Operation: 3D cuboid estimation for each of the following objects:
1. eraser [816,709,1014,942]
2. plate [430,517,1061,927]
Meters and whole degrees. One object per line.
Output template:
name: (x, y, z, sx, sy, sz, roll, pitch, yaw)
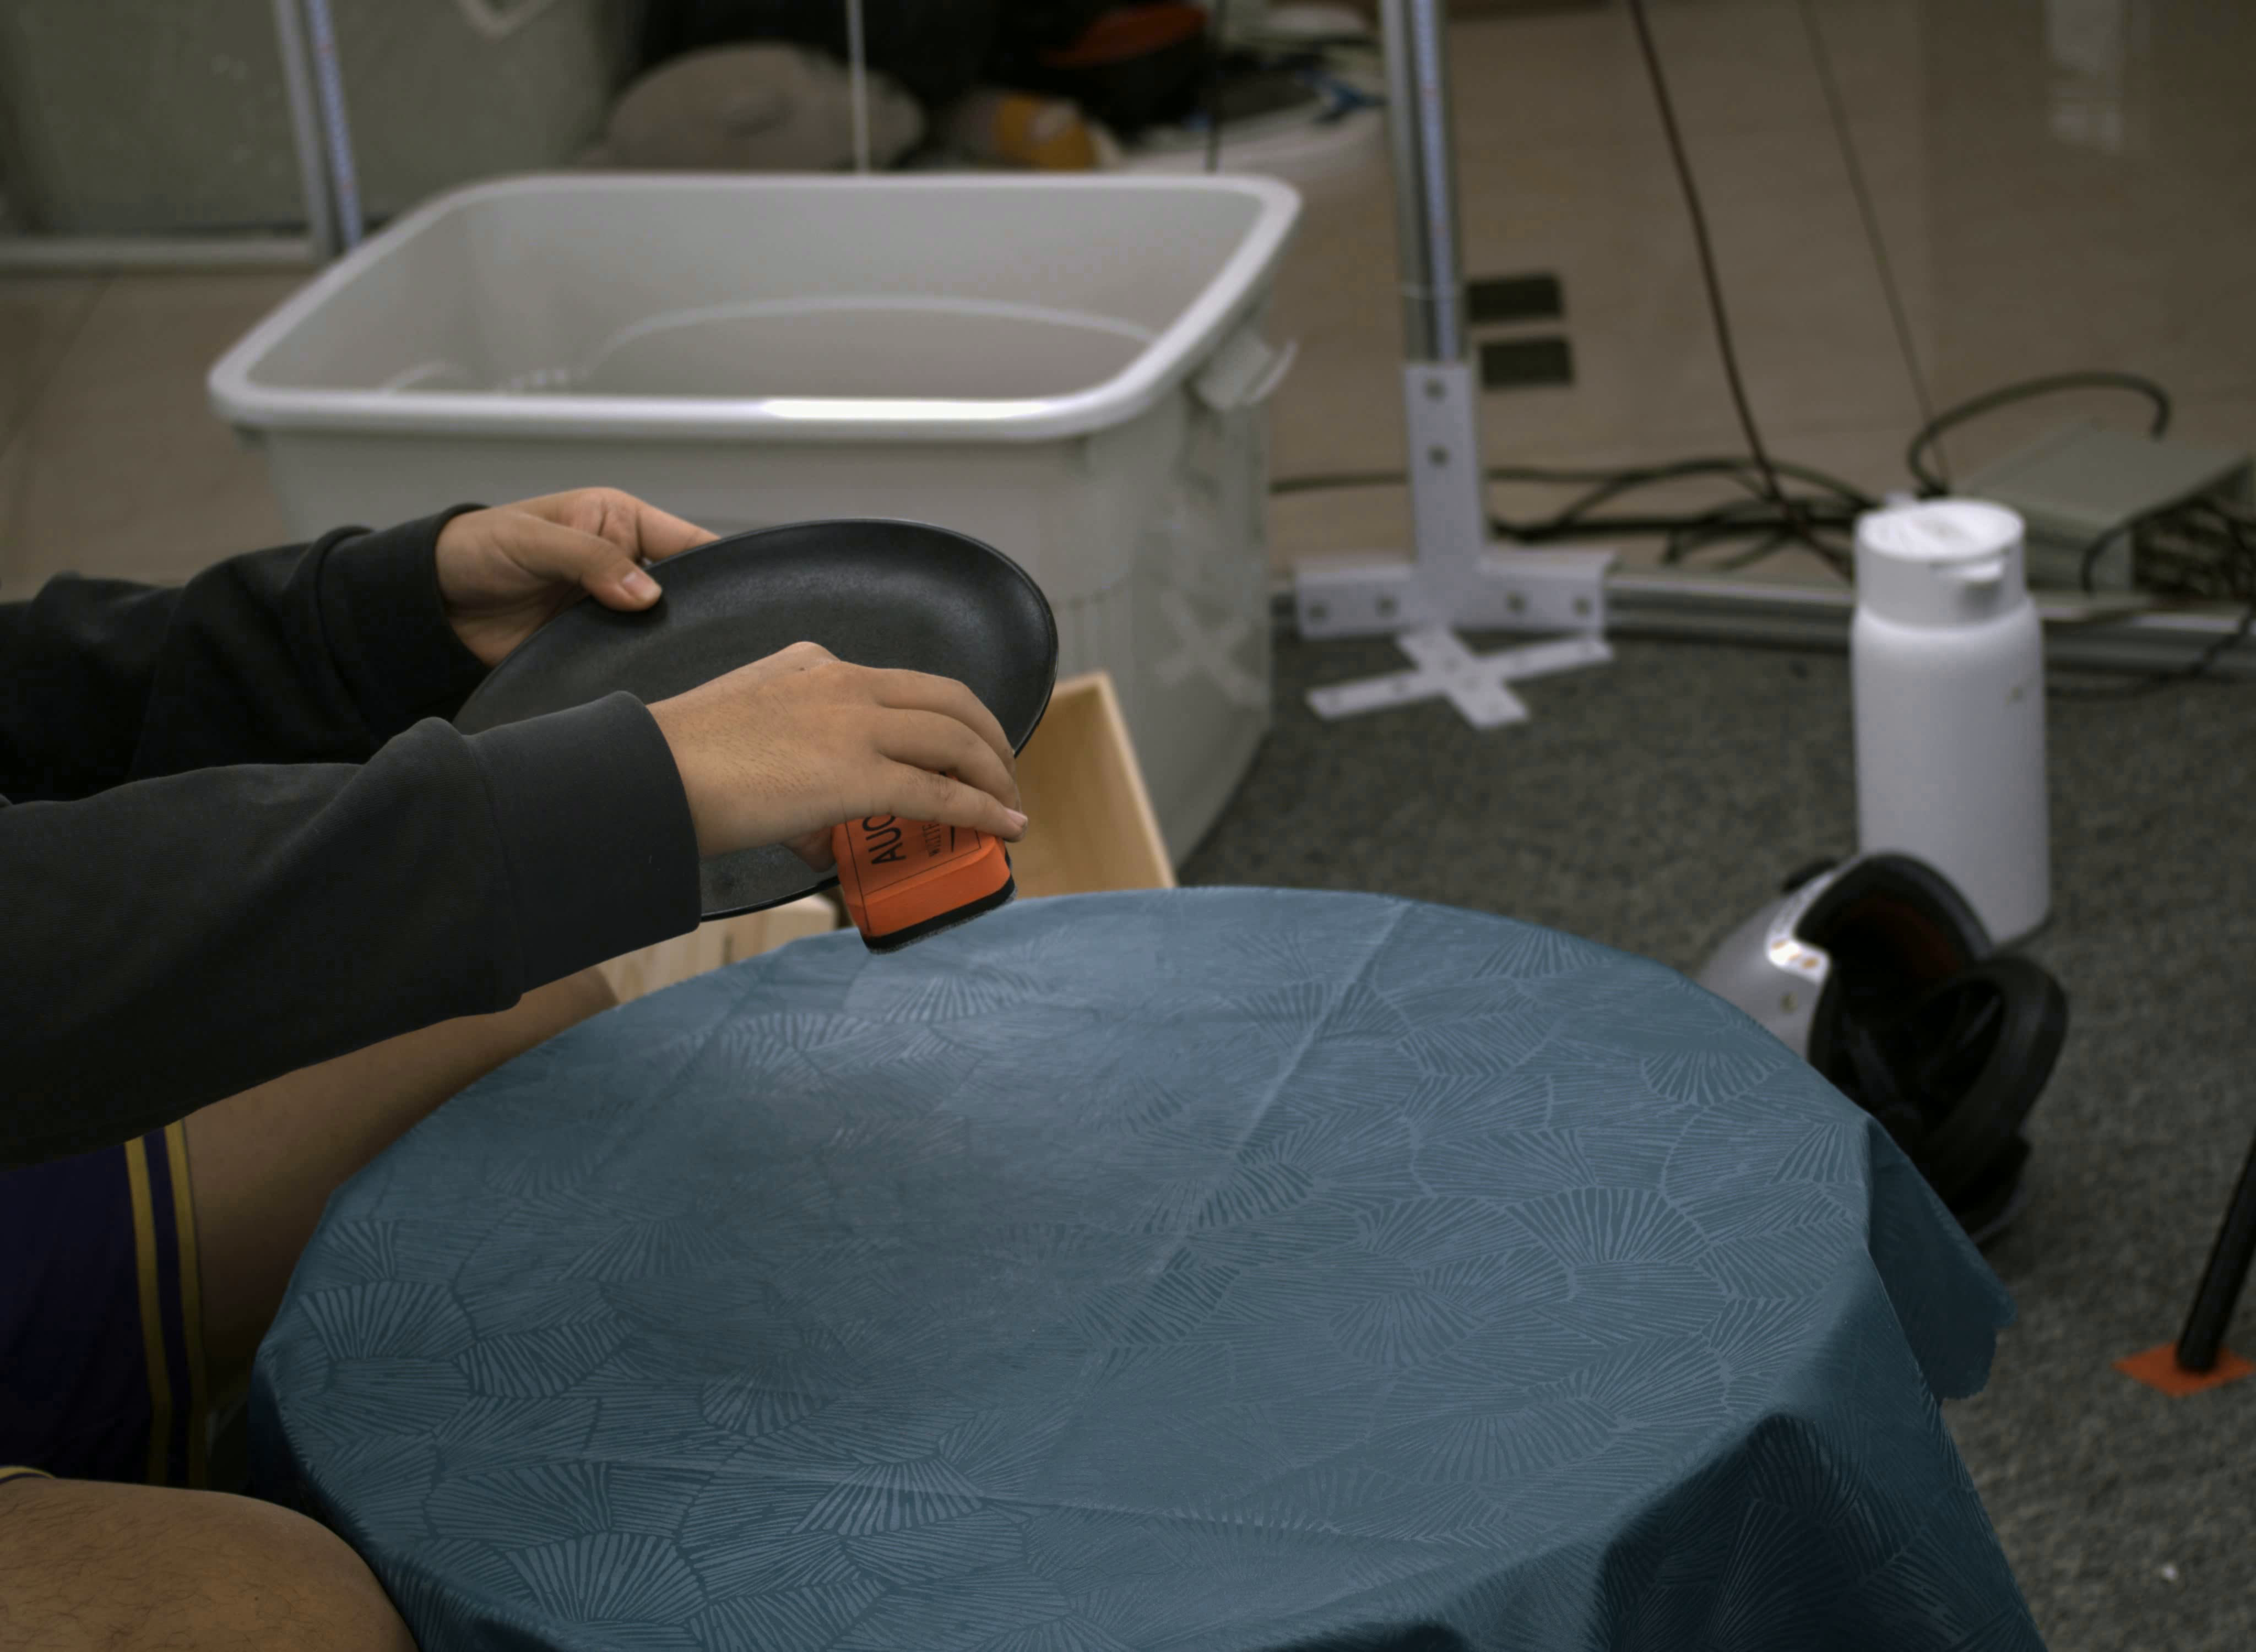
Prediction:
eraser: (-0.075, -0.001, 1.989, 0.059, 0.023, 0.106, -21, 30, 2)
plate: (-0.141, -0.035, 2.105, 0.244, 0.024, 0.240, -12, 37, 9)
